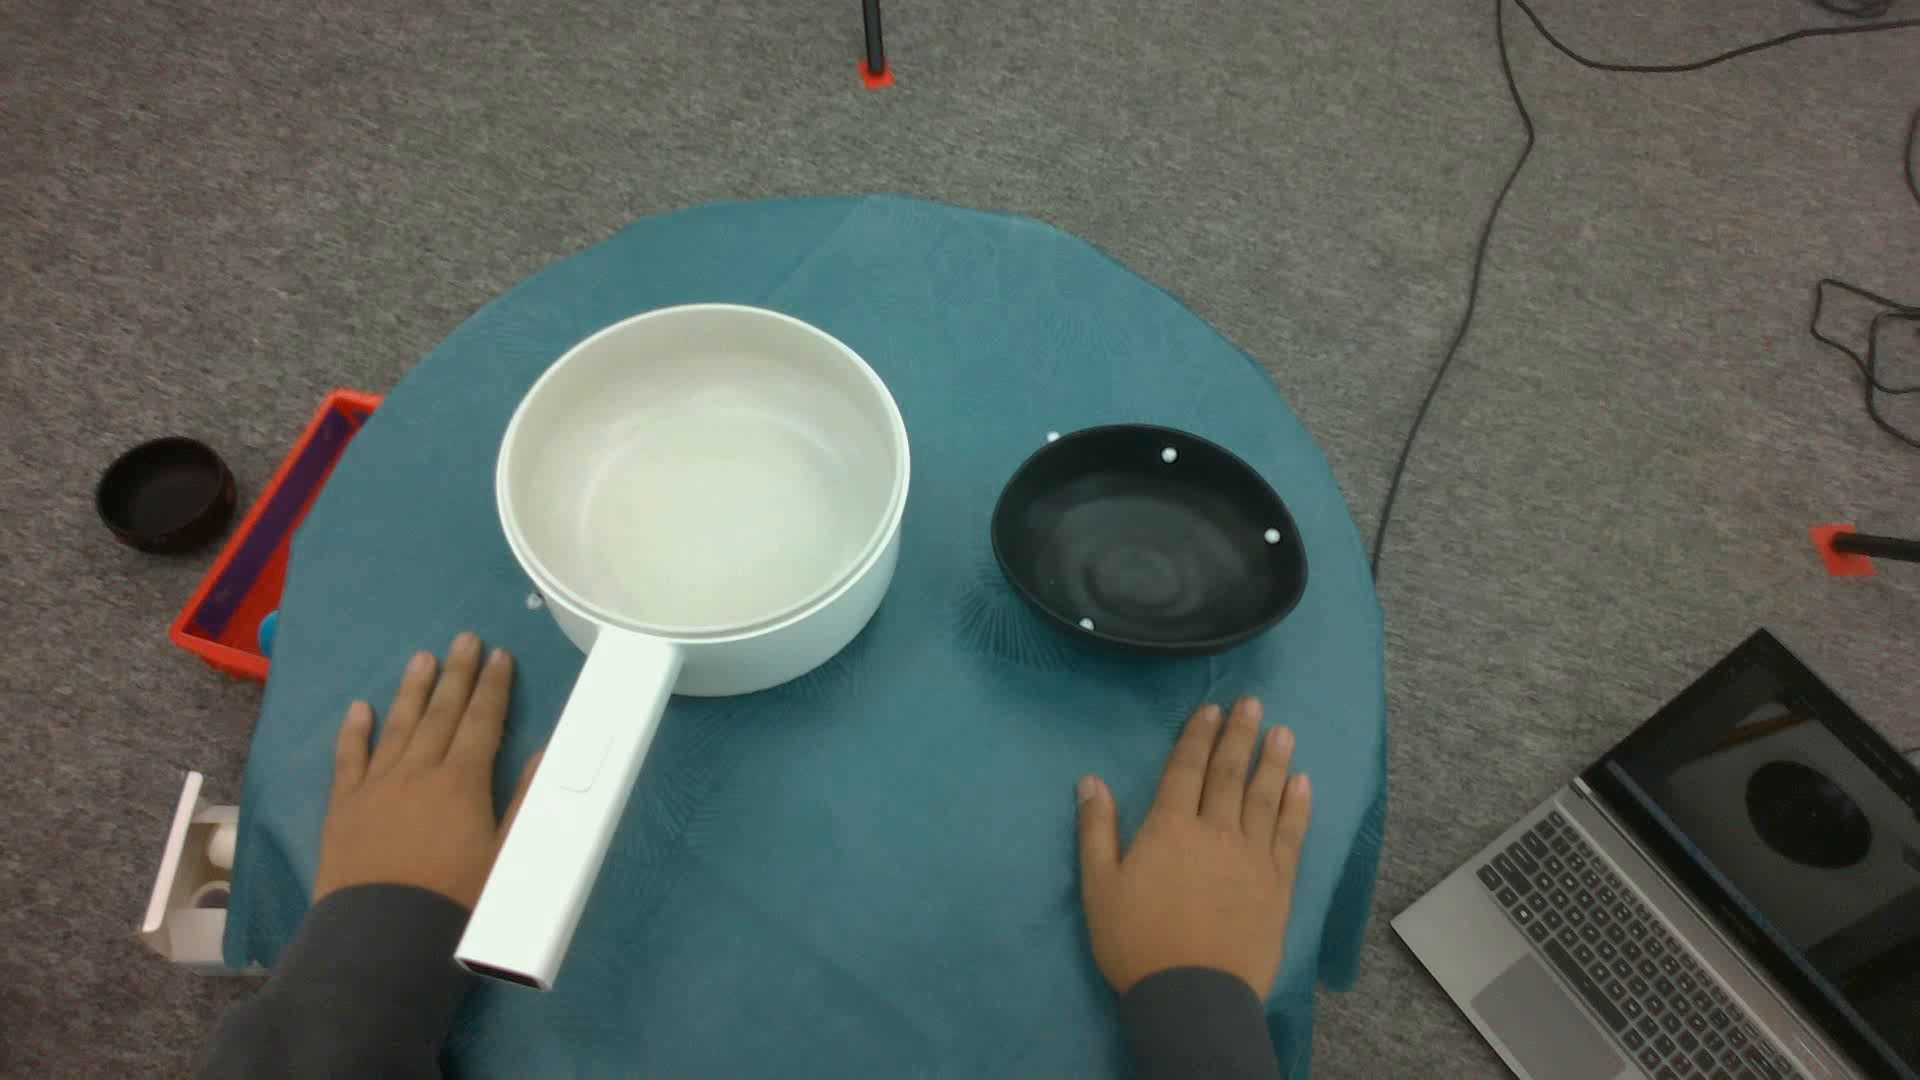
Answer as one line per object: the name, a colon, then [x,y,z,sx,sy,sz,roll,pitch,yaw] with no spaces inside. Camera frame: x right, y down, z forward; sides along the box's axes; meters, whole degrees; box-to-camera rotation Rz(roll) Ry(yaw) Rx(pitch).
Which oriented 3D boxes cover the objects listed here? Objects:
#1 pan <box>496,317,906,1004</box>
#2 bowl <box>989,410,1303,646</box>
pan: [-0.144,0.056,0.700,0.201,0.101,0.356,11,62,2]
bowl: [0.099,0.002,0.753,0.170,0.066,0.138,5,60,-1]
